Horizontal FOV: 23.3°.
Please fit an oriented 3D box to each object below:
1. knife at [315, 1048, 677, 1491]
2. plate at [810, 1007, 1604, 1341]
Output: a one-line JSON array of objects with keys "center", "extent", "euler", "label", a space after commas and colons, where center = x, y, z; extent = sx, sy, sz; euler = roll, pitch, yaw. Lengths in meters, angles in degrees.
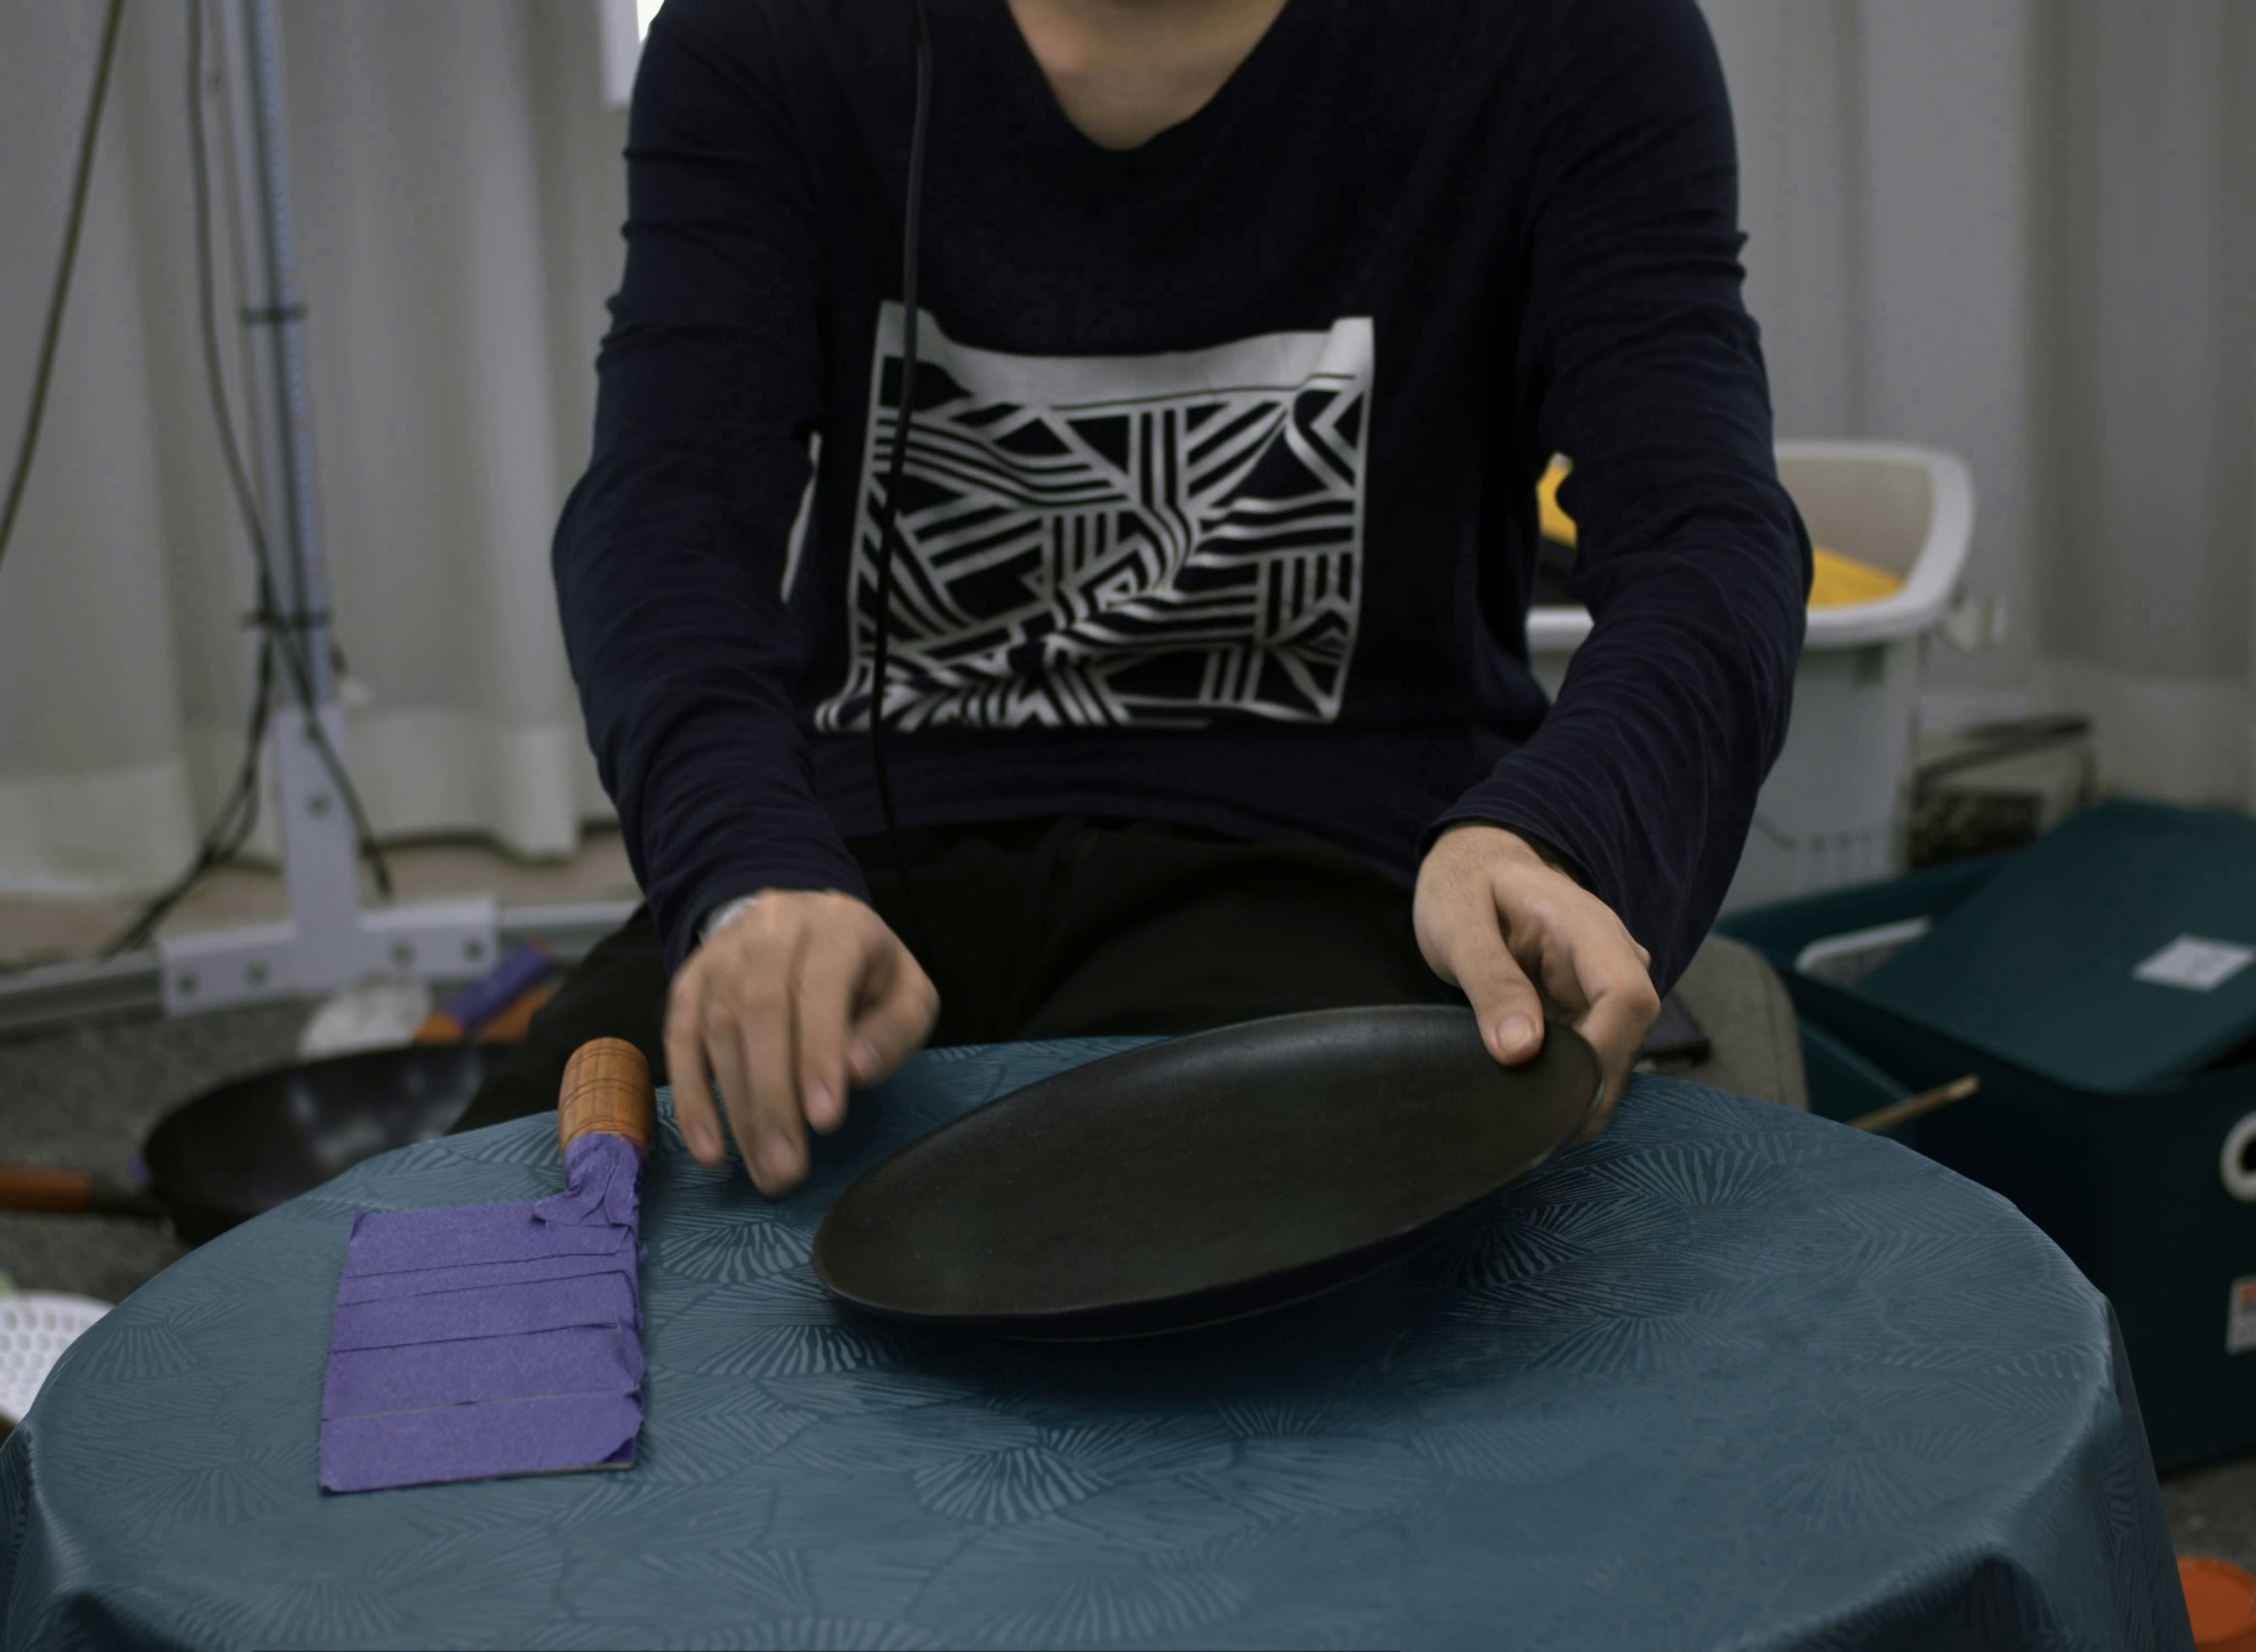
[{"center": [-0.190, 0.129, 1.646], "extent": [0.103, 0.032, 0.317], "euler": [-4, 15, -5], "label": "knife"}, {"center": [0.025, 0.107, 1.635], "extent": [0.243, 0.023, 0.246], "euler": [-13, 15, 3], "label": "plate"}]
